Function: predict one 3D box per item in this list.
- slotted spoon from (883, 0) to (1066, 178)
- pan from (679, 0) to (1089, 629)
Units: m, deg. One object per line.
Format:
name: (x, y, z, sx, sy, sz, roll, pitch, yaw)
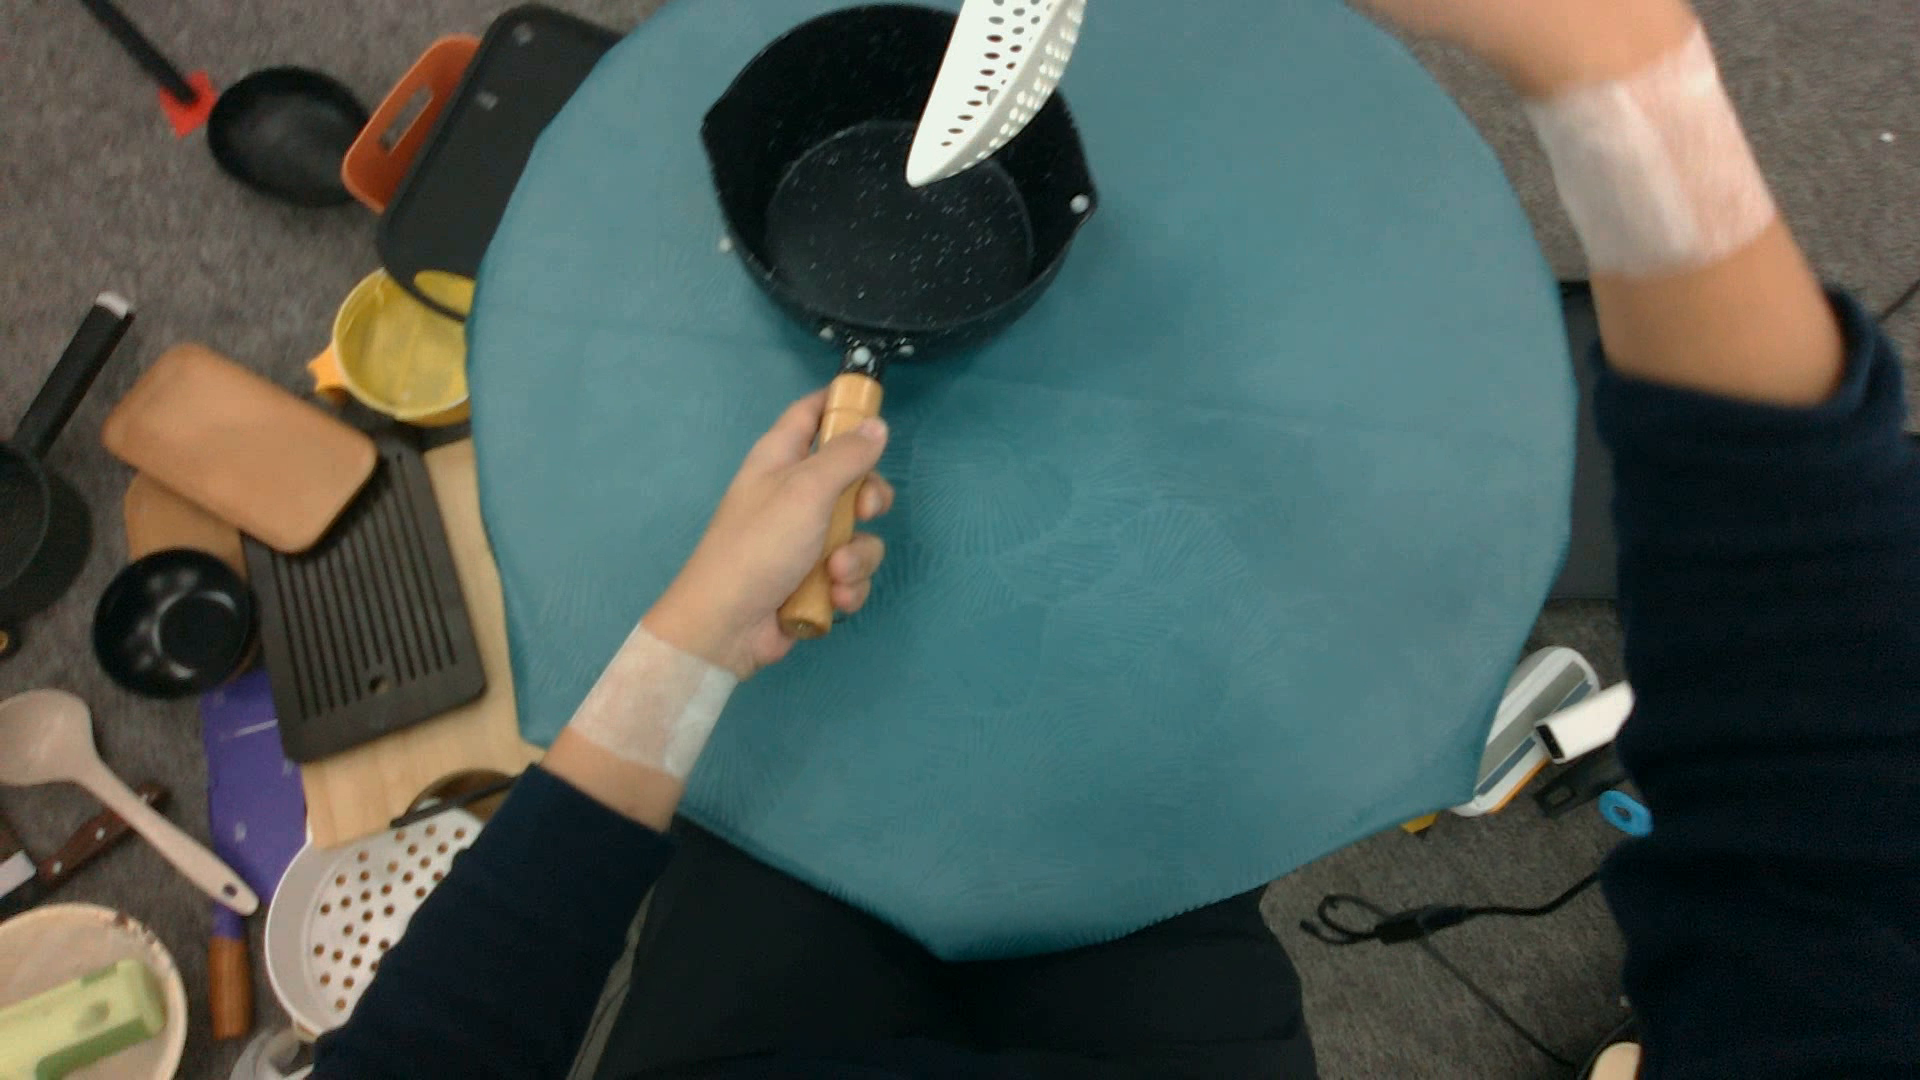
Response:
slotted spoon: (0.041, -0.213, 0.501, 0.050, 0.347, 0.137, 20, 88, -14)
pan: (-0.050, -0.112, 0.685, 0.207, 0.108, 0.344, 10, 73, -2)
